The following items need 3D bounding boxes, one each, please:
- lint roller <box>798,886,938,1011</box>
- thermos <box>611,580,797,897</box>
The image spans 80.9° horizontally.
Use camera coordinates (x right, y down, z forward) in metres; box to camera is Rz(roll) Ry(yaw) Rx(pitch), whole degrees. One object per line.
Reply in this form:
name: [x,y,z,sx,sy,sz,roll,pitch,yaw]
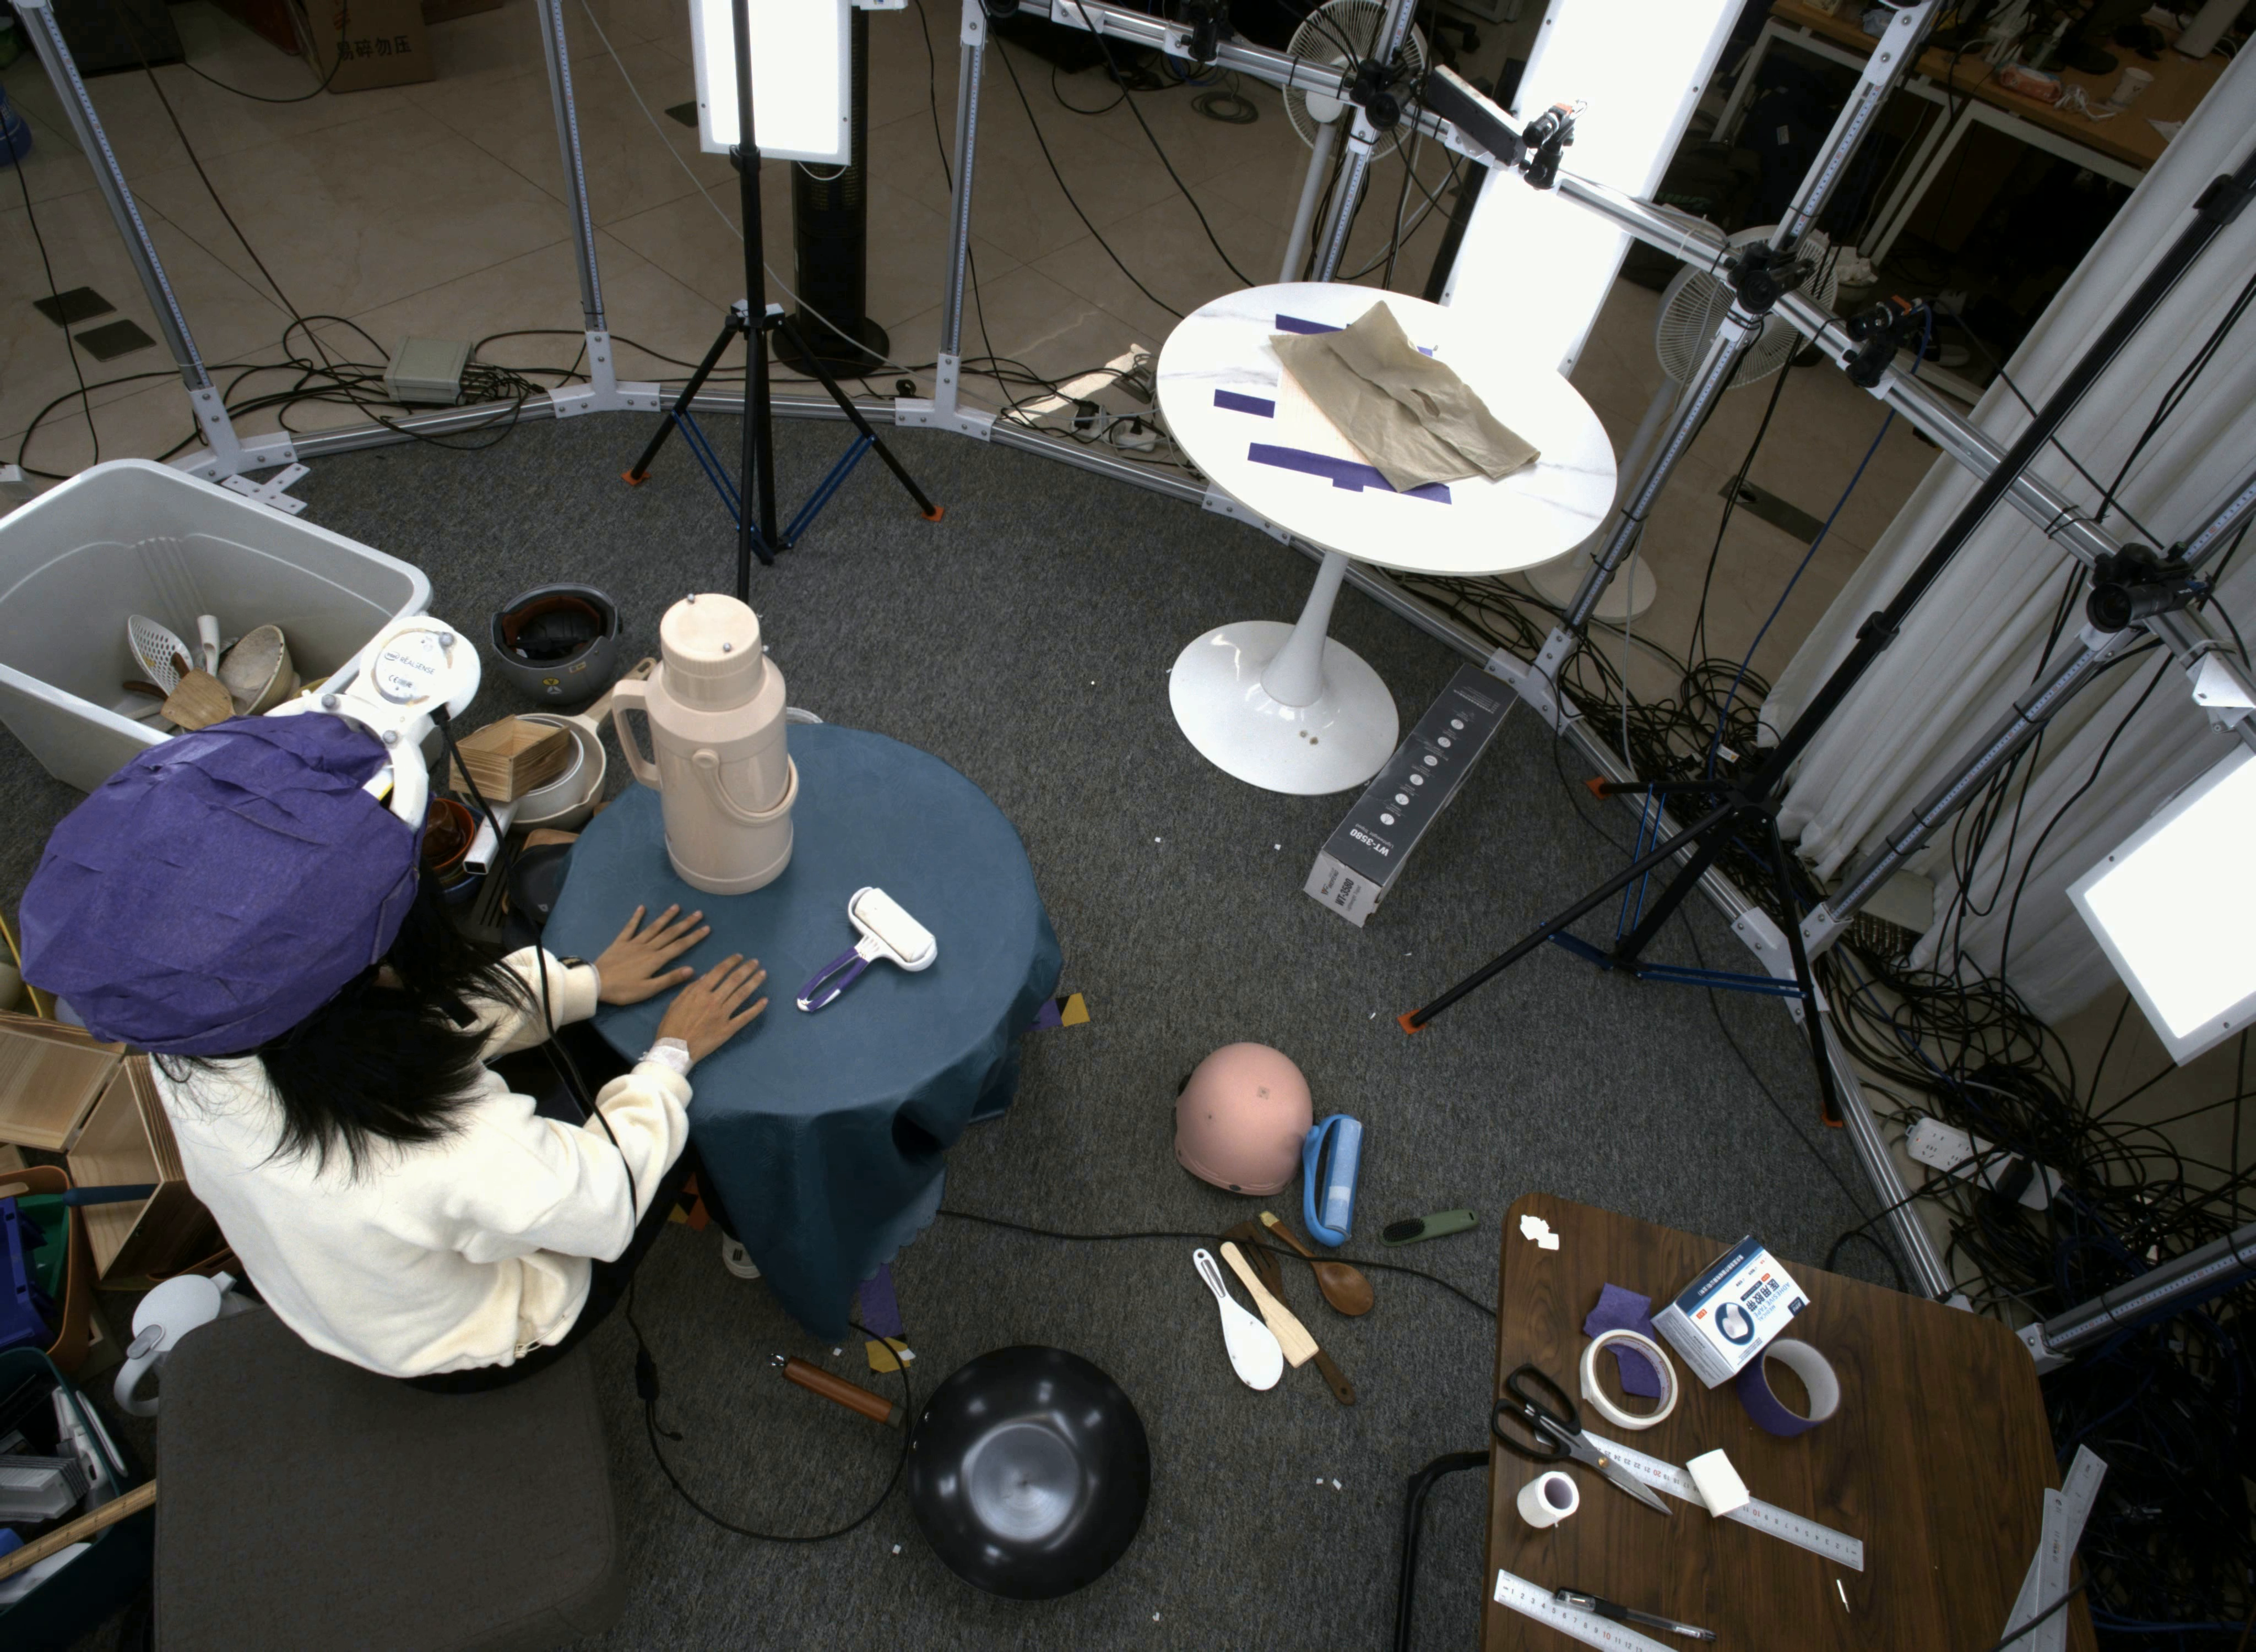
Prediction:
lint roller: [-0.336,0.156,1.595,0.130,0.051,0.181,41,52,16]
thermos: [-0.498,-0.101,1.518,0.207,0.415,0.172,3,52,-10]
